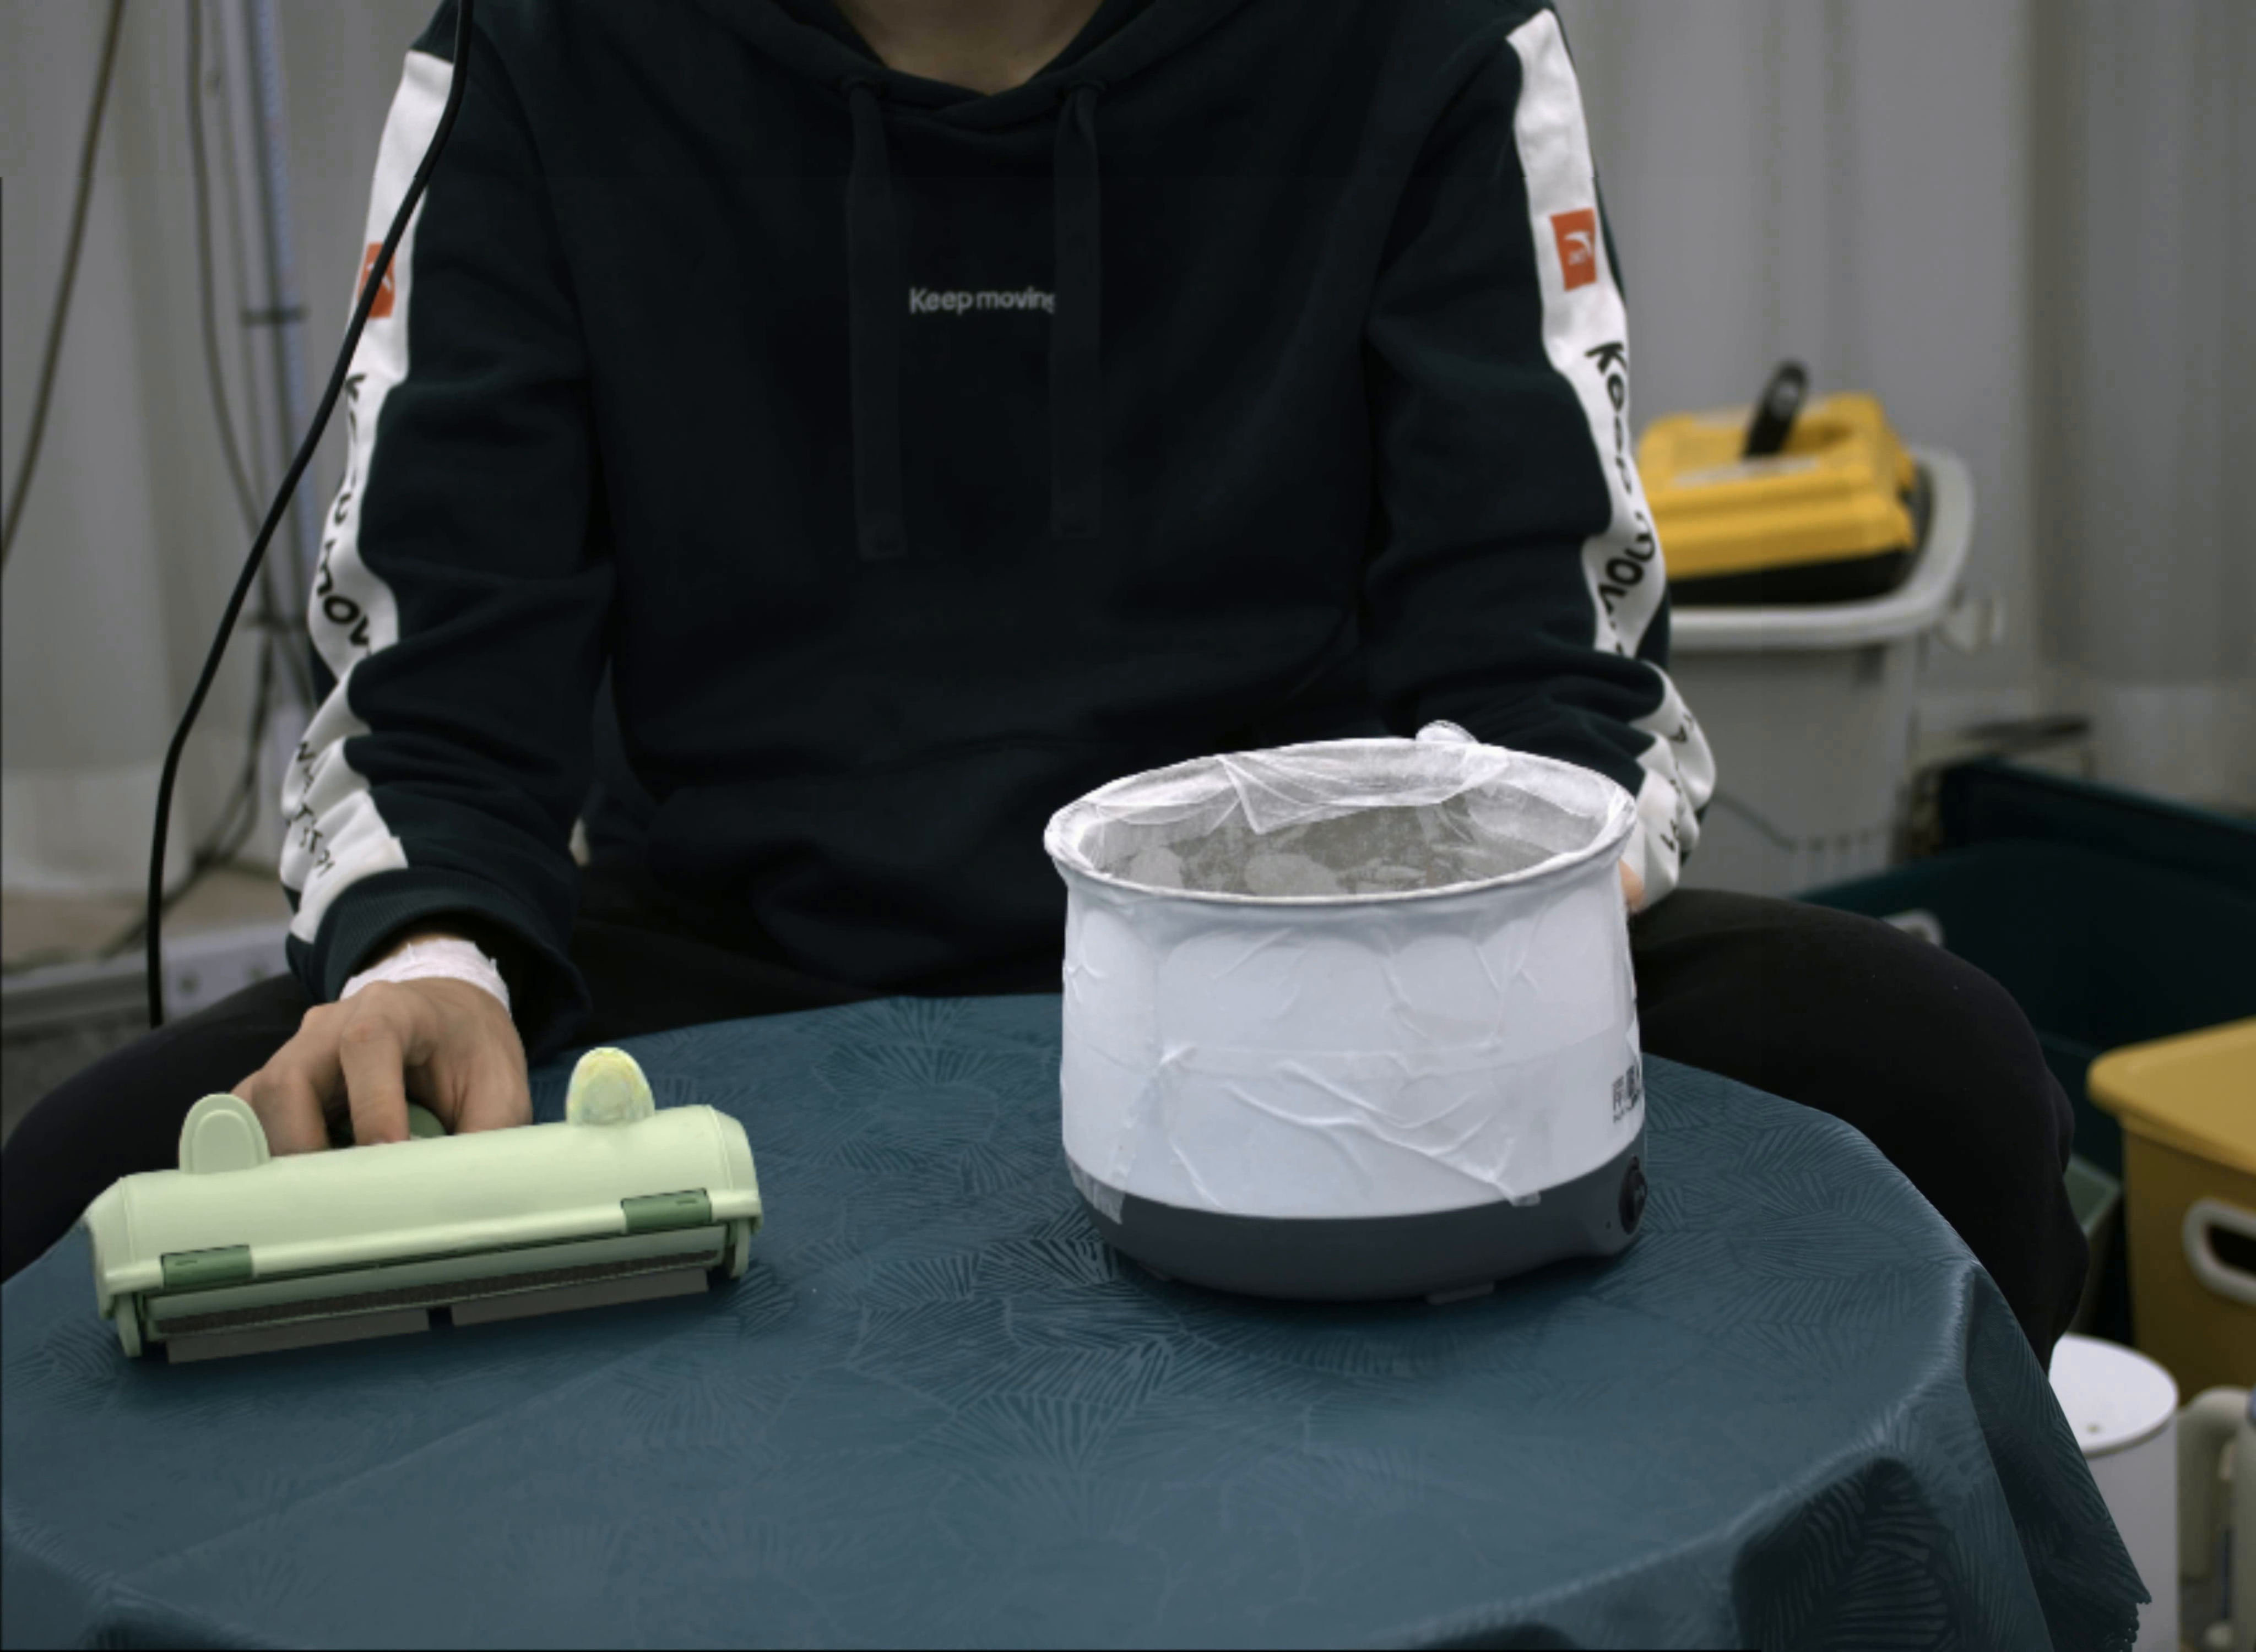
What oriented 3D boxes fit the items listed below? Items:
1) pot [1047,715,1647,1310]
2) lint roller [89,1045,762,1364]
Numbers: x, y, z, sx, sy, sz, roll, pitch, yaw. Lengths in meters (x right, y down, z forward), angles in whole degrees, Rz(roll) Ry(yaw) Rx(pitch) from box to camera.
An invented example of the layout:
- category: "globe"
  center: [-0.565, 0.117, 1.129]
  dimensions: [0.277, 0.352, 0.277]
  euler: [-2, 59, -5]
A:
- category: "pot"
  center: [0.076, 0.051, 1.671]
  dimensions: [0.179, 0.136, 0.234]
  euler: [3, 17, 20]
- category: "lint roller"
  center: [-0.223, 0.097, 1.681]
  dimensions: [0.198, 0.081, 0.185]
  euler: [-7, 20, -12]
